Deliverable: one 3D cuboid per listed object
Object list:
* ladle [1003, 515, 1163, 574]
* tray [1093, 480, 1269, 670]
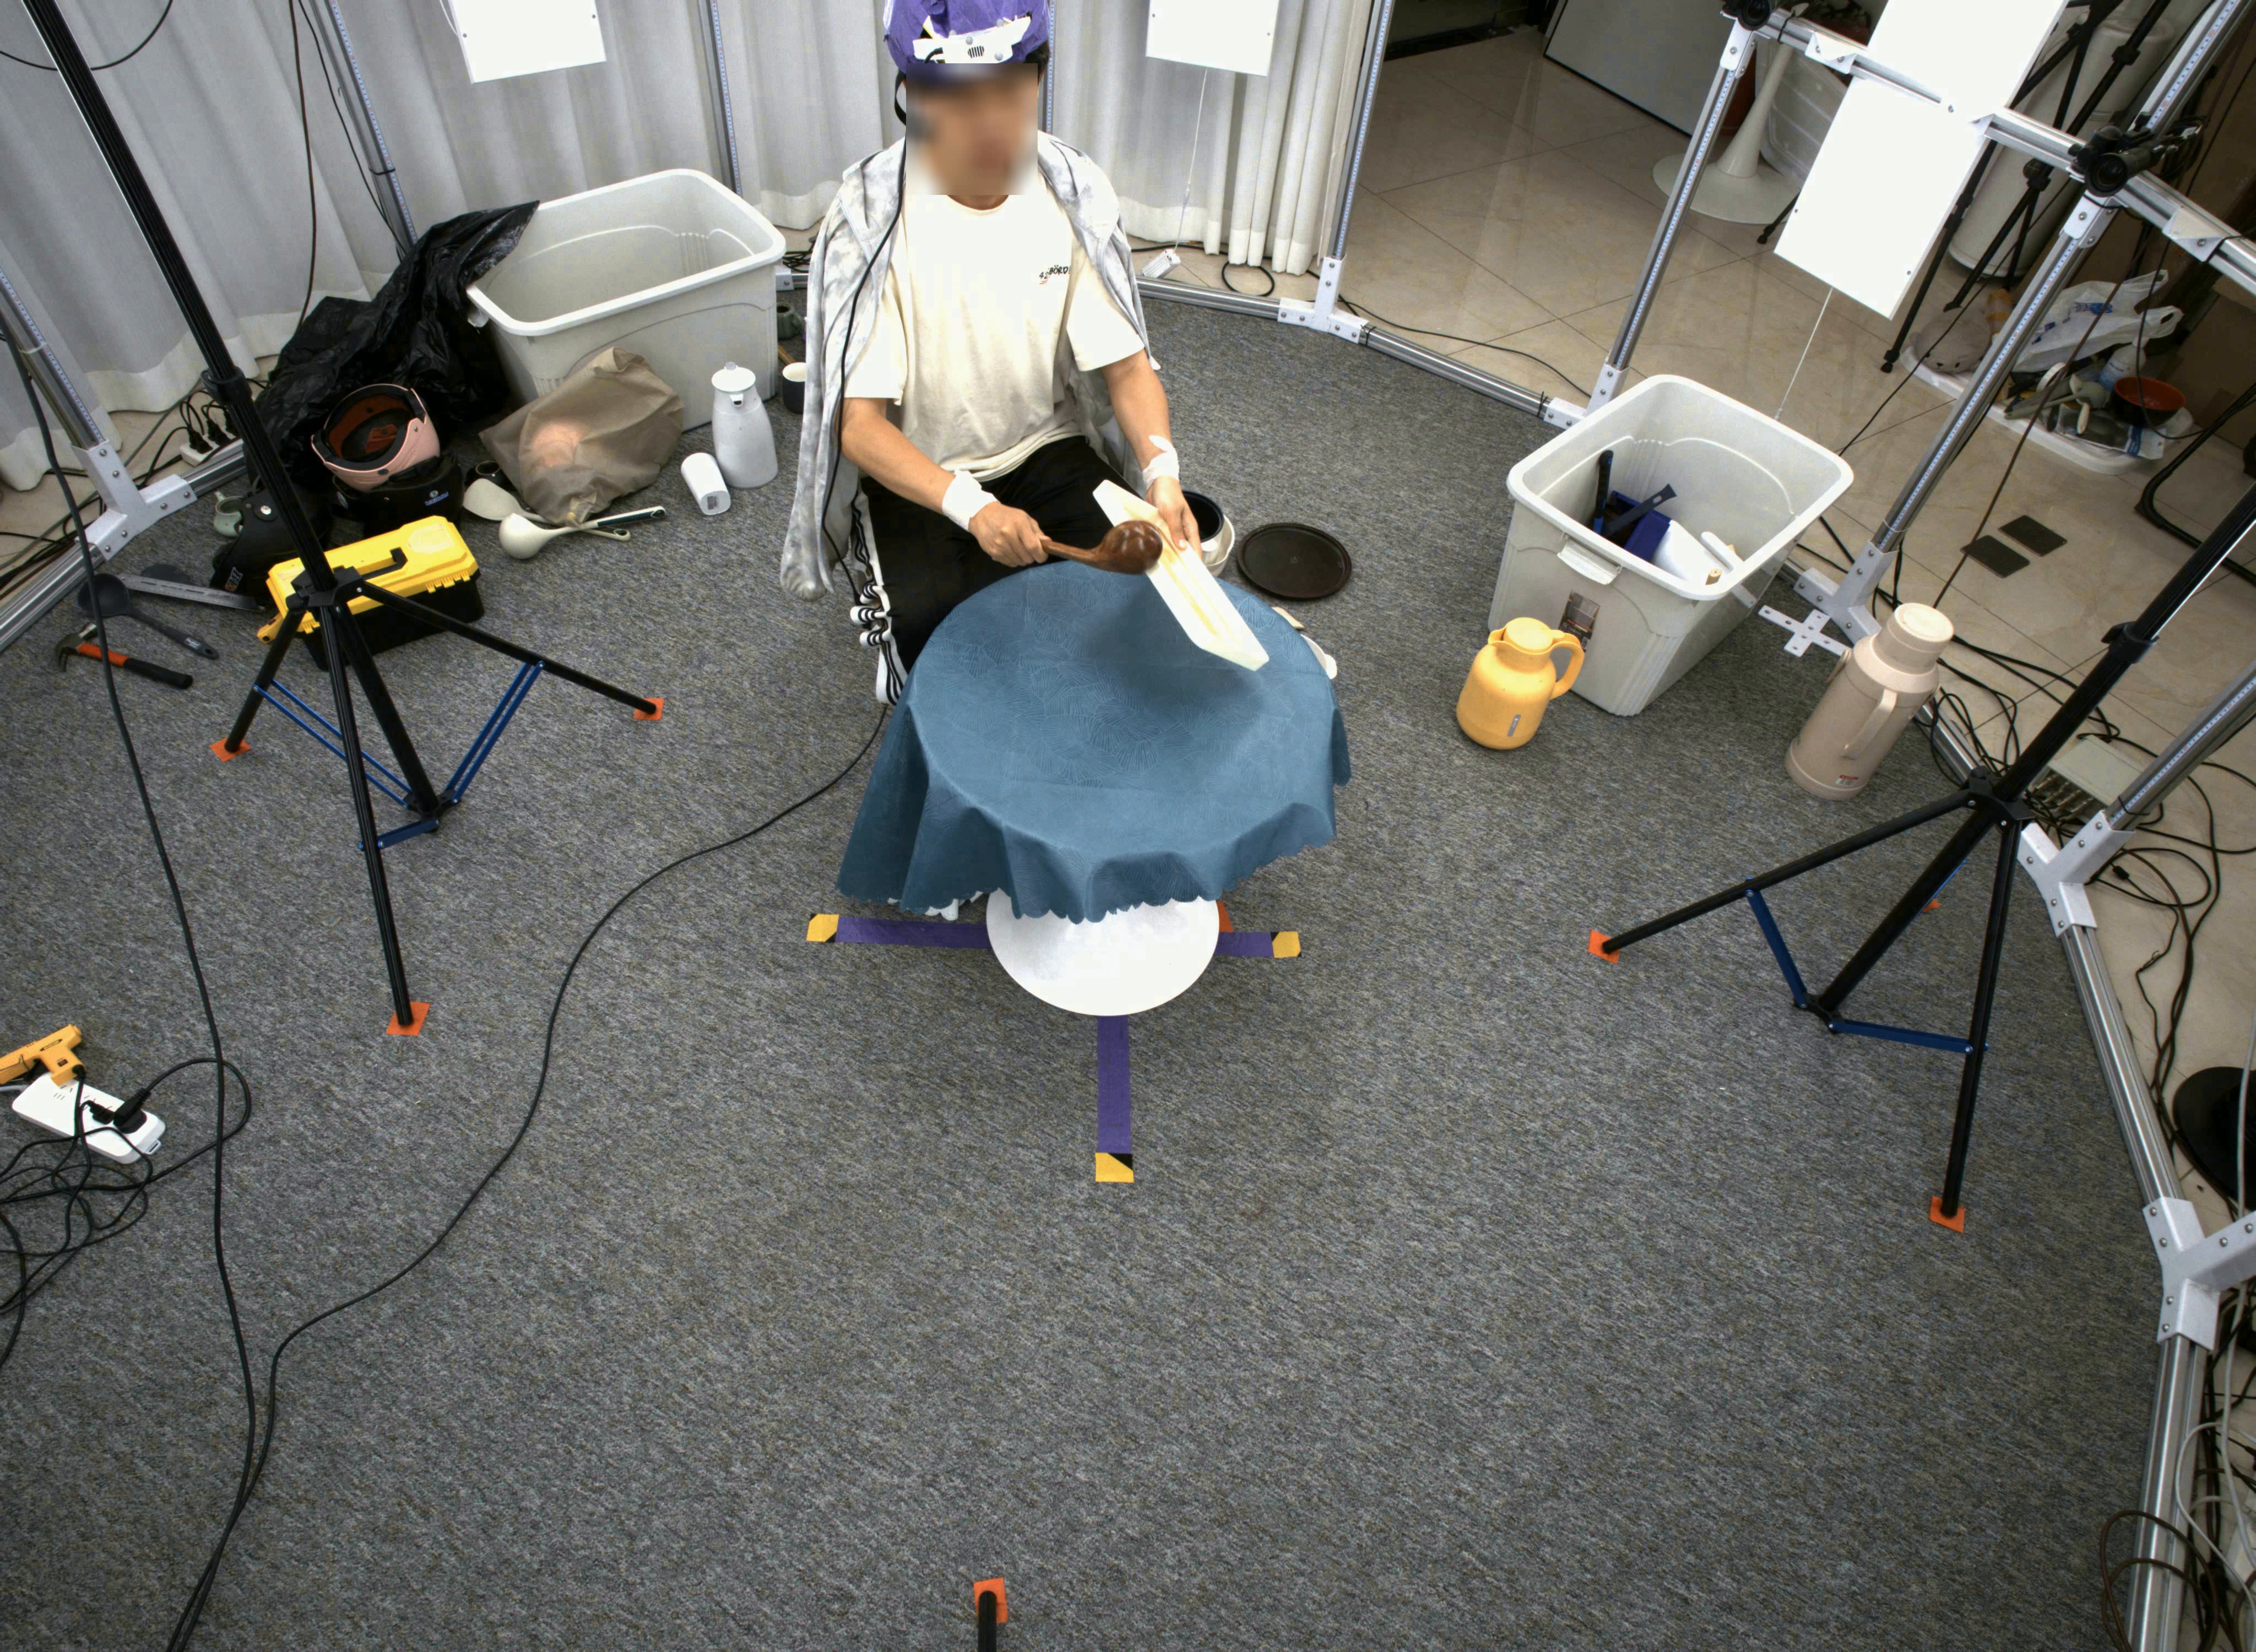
[{"bbox_3d":[-0.064,-0.393,1.766,0.277,0.080,0.077,21,59,46],"label":"ladle"},{"bbox_3d":[0.075,-0.351,1.806,0.190,0.027,0.306,11,42,-56],"label":"tray"}]
